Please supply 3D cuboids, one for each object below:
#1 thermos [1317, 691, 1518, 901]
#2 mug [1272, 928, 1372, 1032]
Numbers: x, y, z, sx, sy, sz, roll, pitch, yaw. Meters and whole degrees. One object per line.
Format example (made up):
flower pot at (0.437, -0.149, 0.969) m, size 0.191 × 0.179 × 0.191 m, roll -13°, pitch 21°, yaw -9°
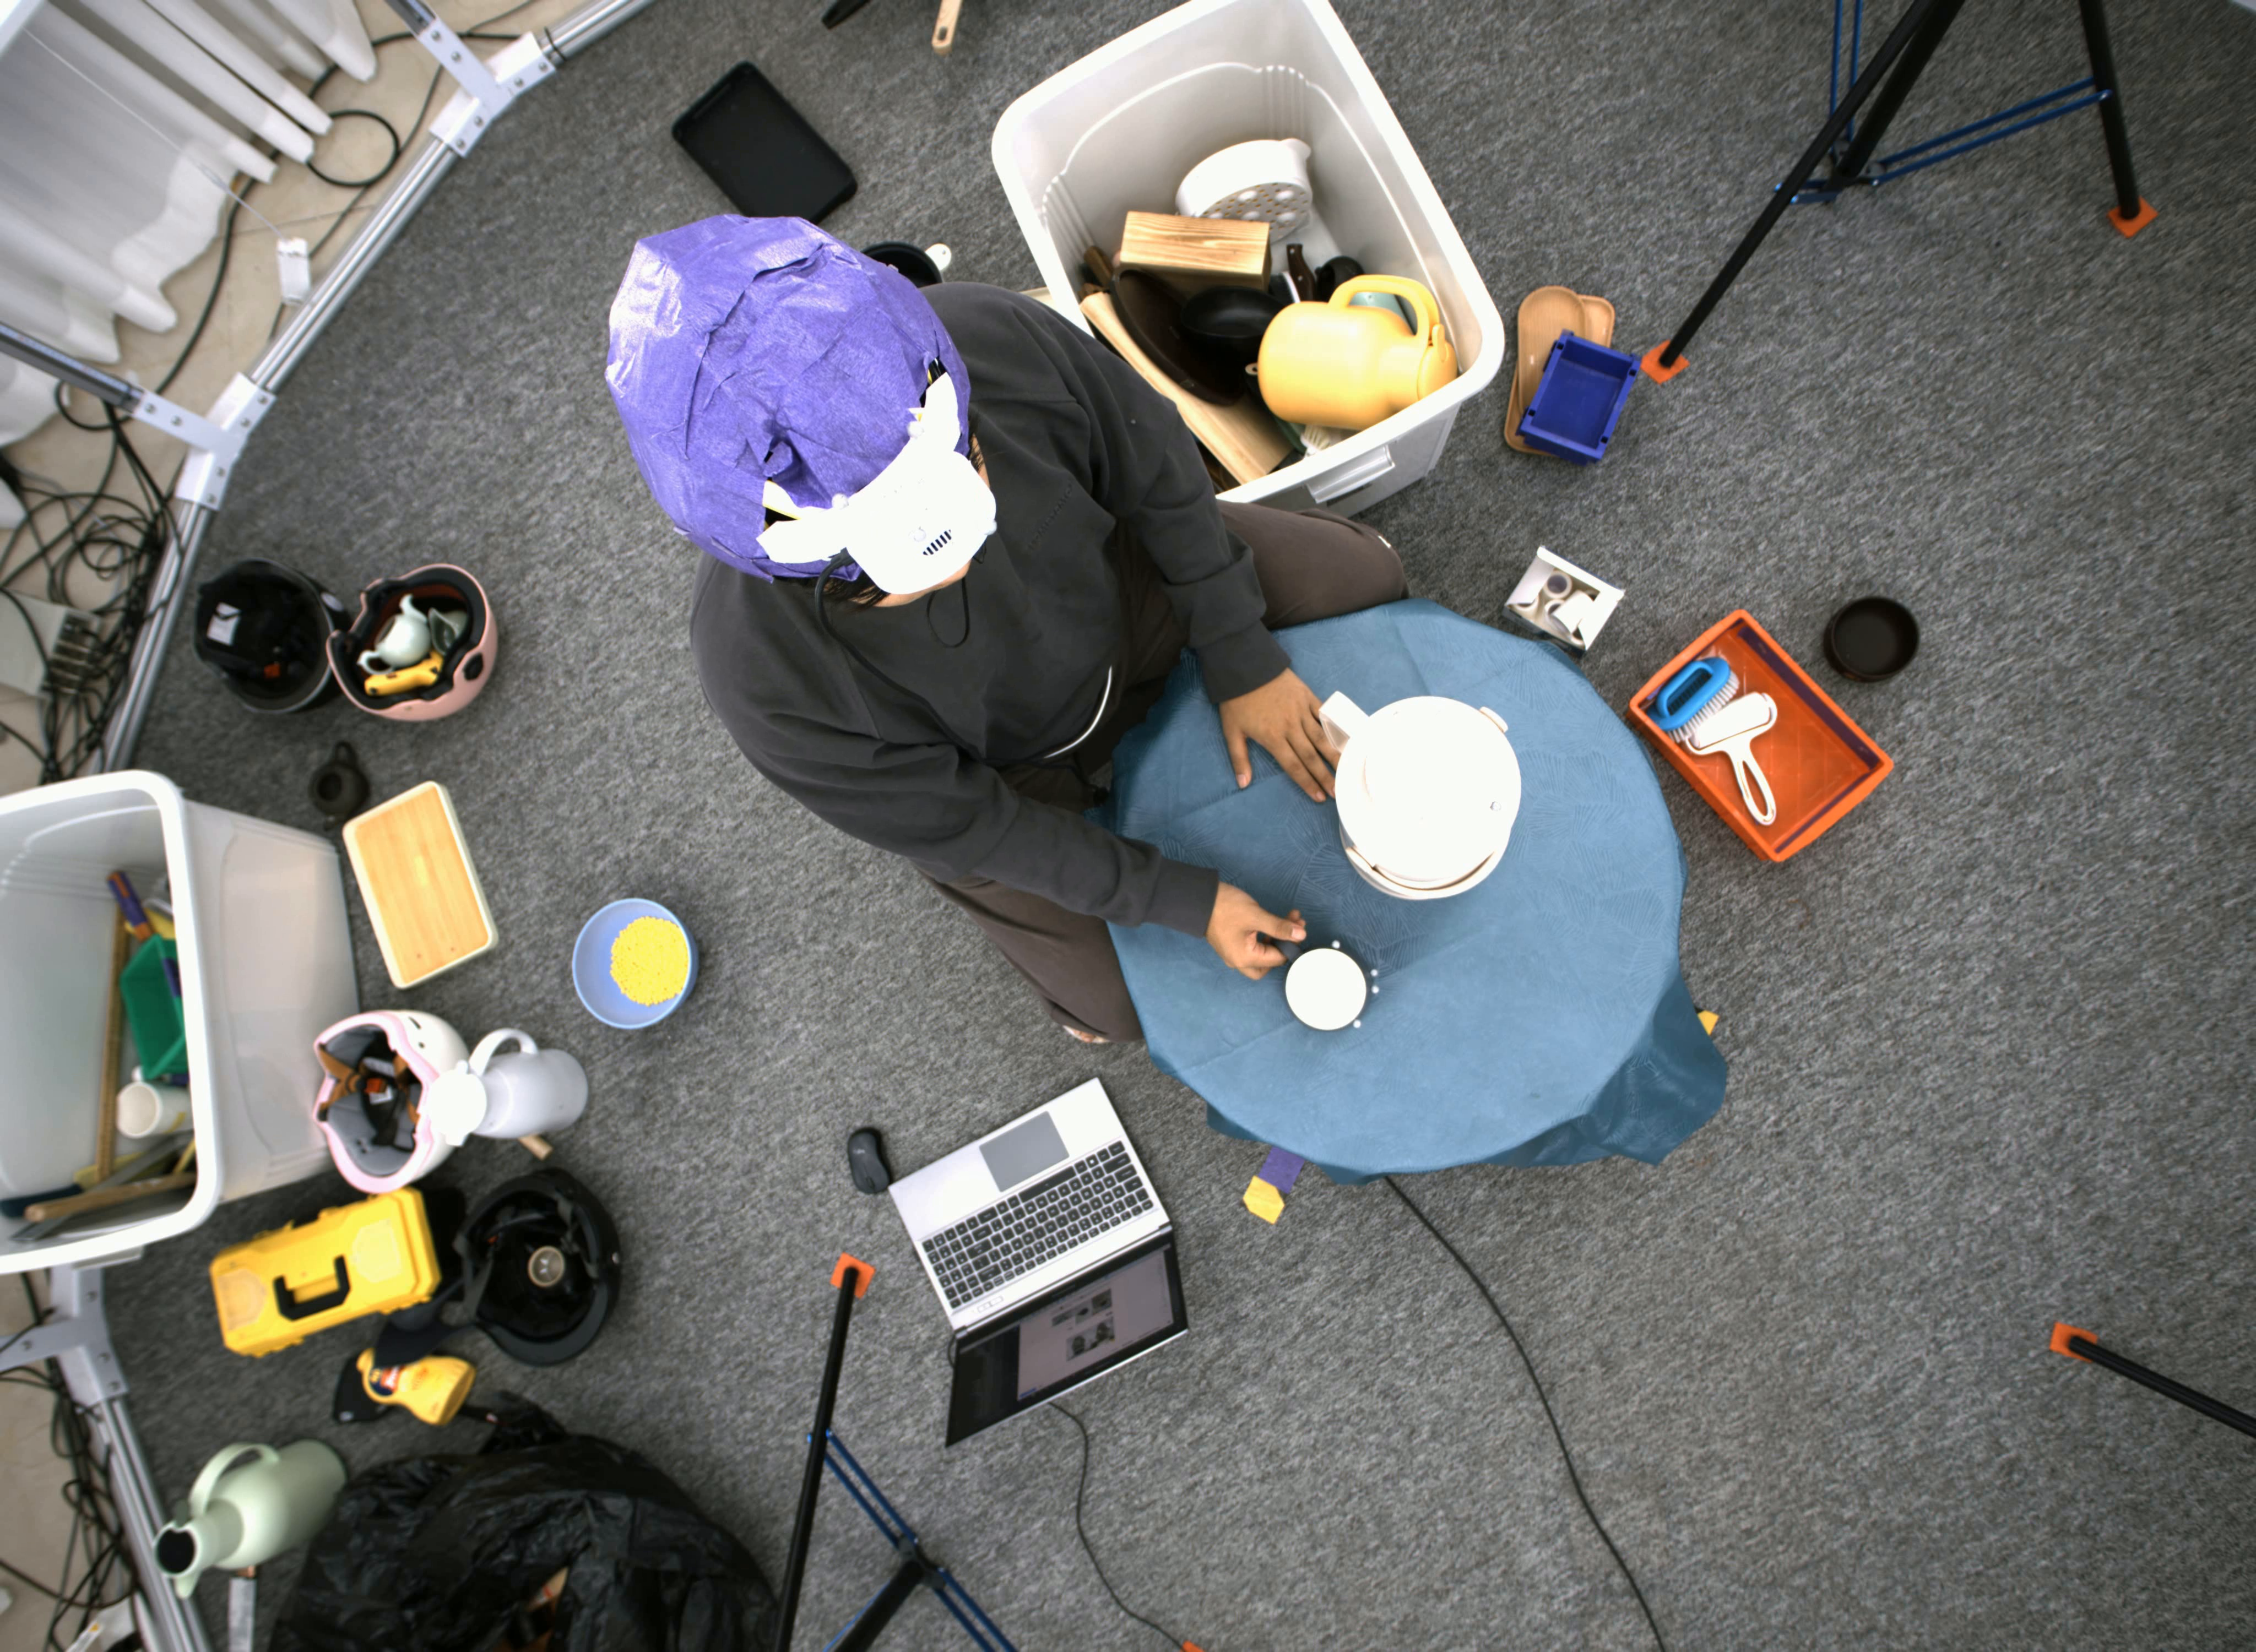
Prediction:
thermos at (0.259, -0.034, 1.268) m, size 0.206 × 0.407 × 0.176 m, roll 43°, pitch 93°, yaw 11°
mug at (0.194, 0.153, 1.424) m, size 0.094 × 0.090 × 0.122 m, roll -42°, pitch 81°, yaw 4°
